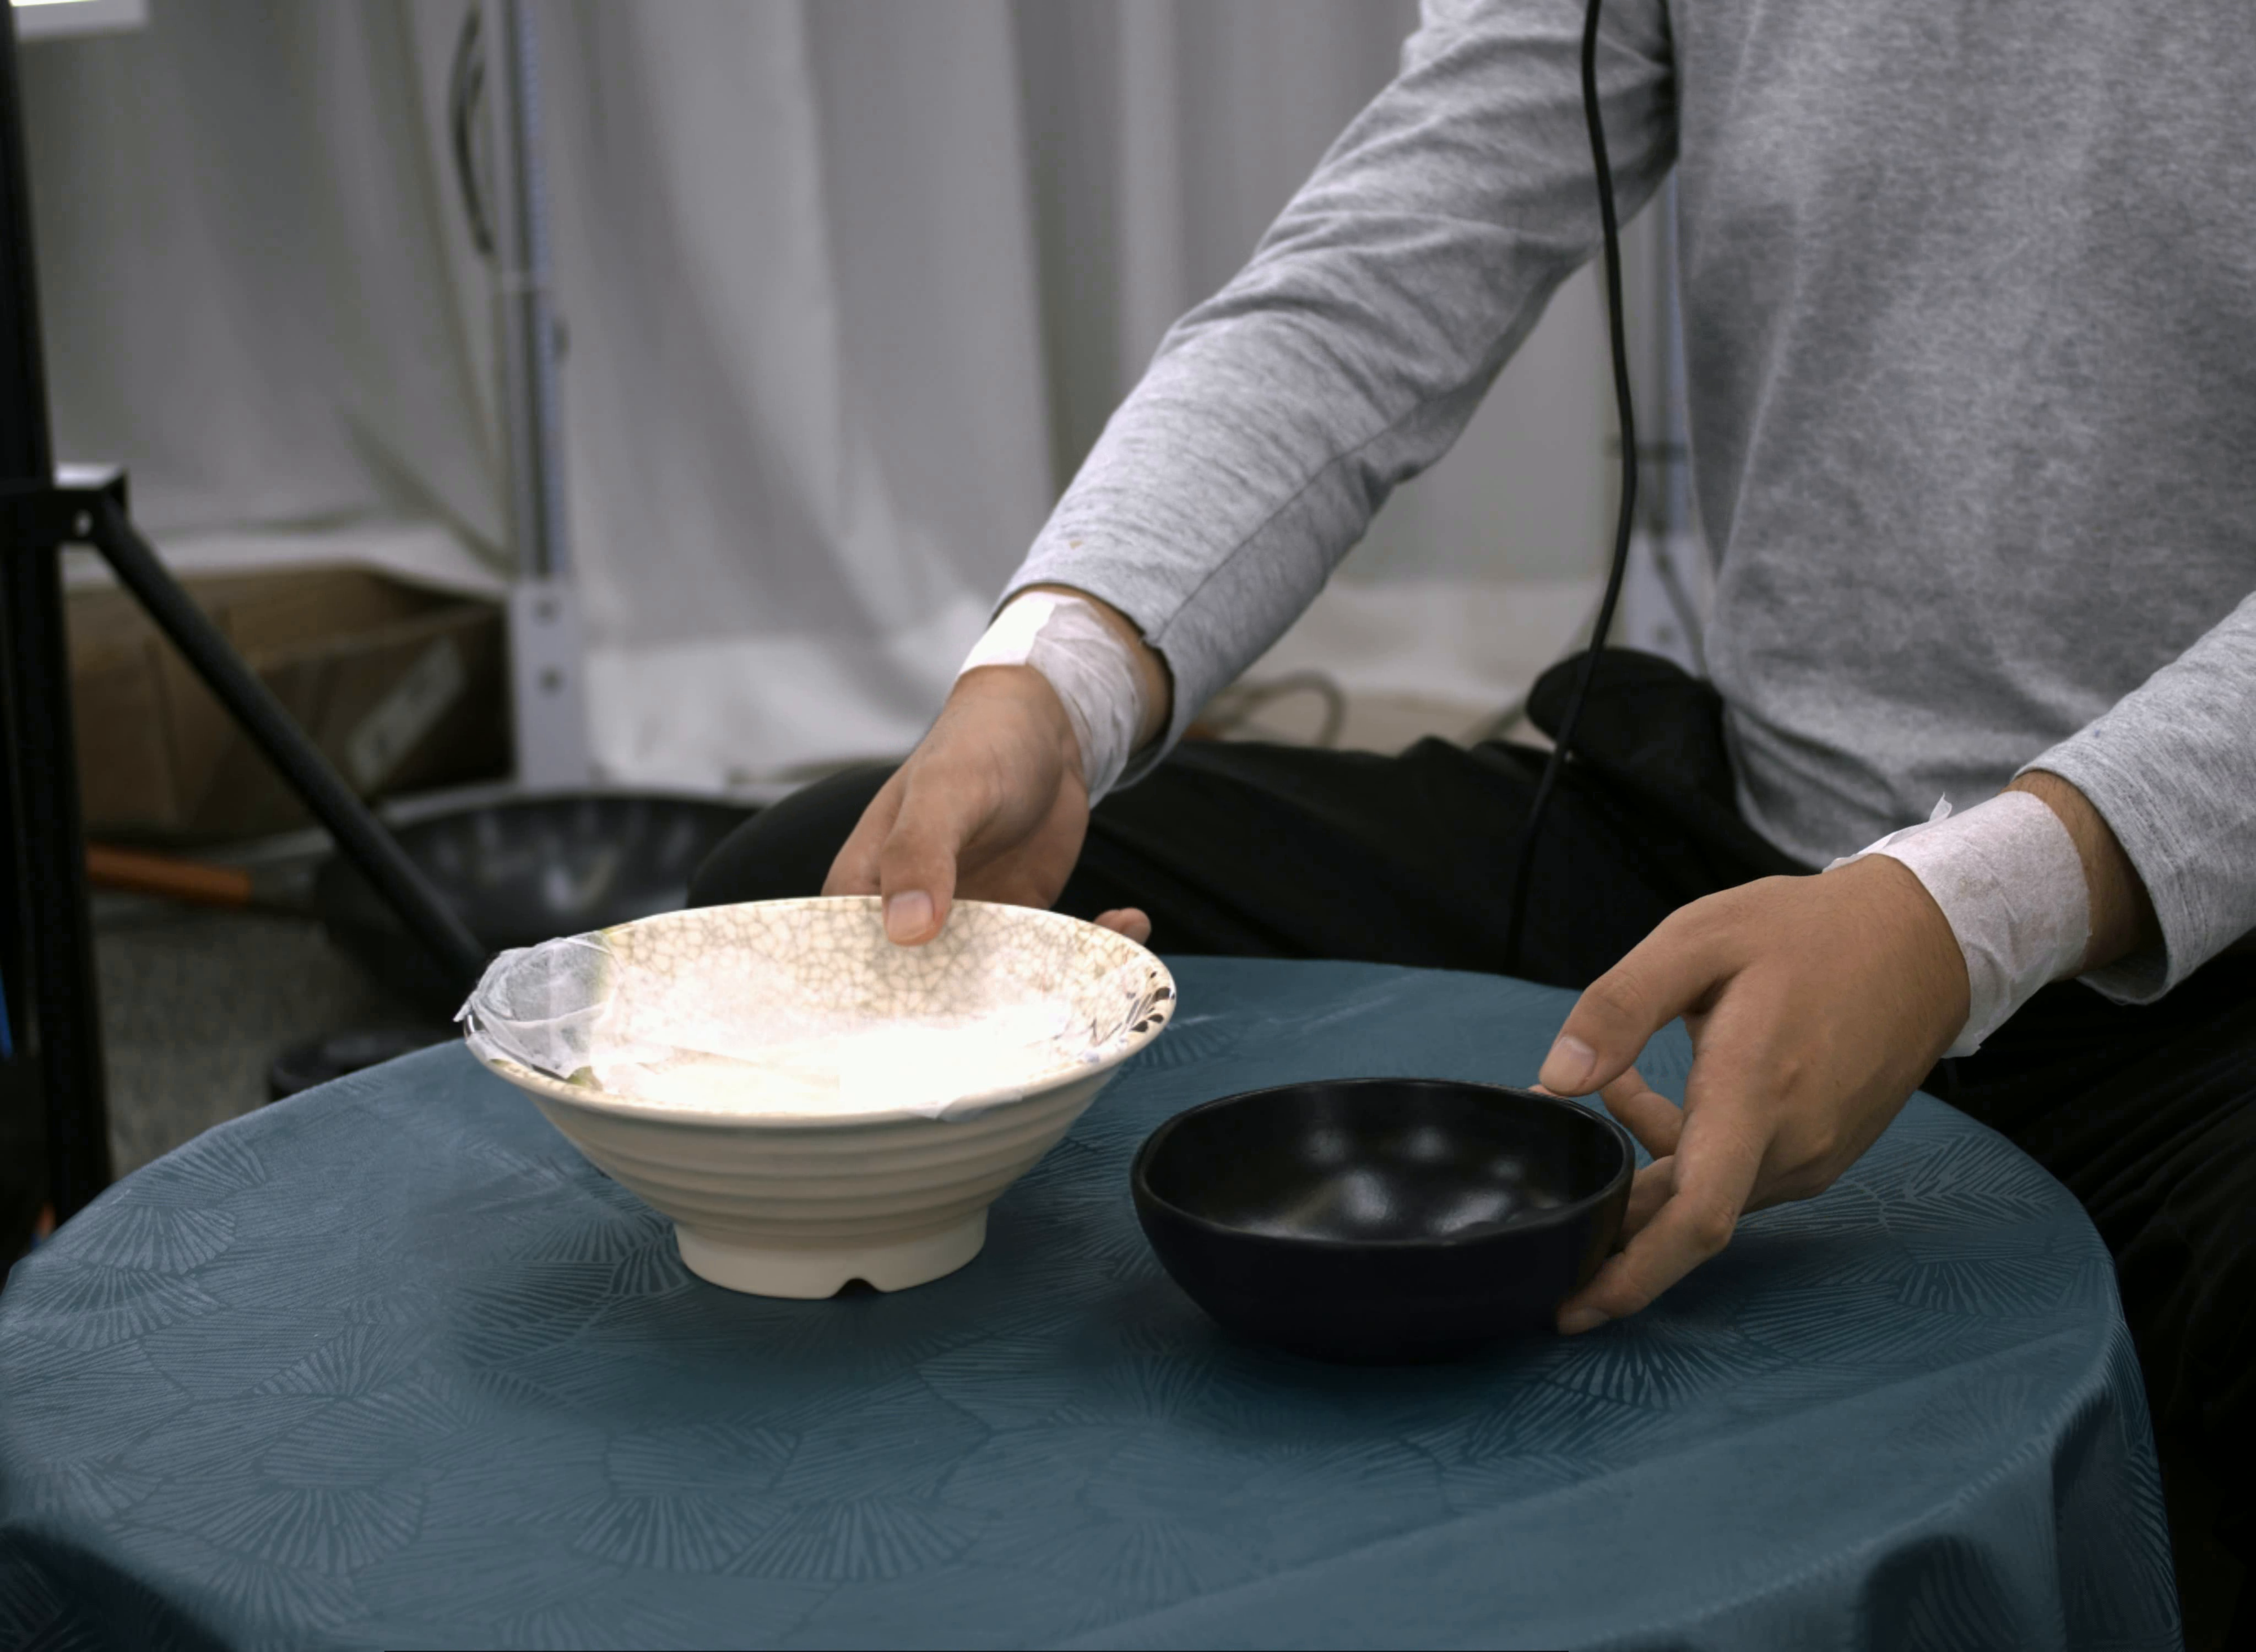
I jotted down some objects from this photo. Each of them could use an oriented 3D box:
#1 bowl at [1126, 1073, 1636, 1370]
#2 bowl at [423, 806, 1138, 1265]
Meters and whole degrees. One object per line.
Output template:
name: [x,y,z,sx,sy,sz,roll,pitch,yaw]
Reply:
bowl: [0.069,0.113,1.444,0.139,0.050,0.141,0,16,-1]
bowl: [-0.095,0.071,1.519,0.203,0.077,0.205,-6,23,1]
